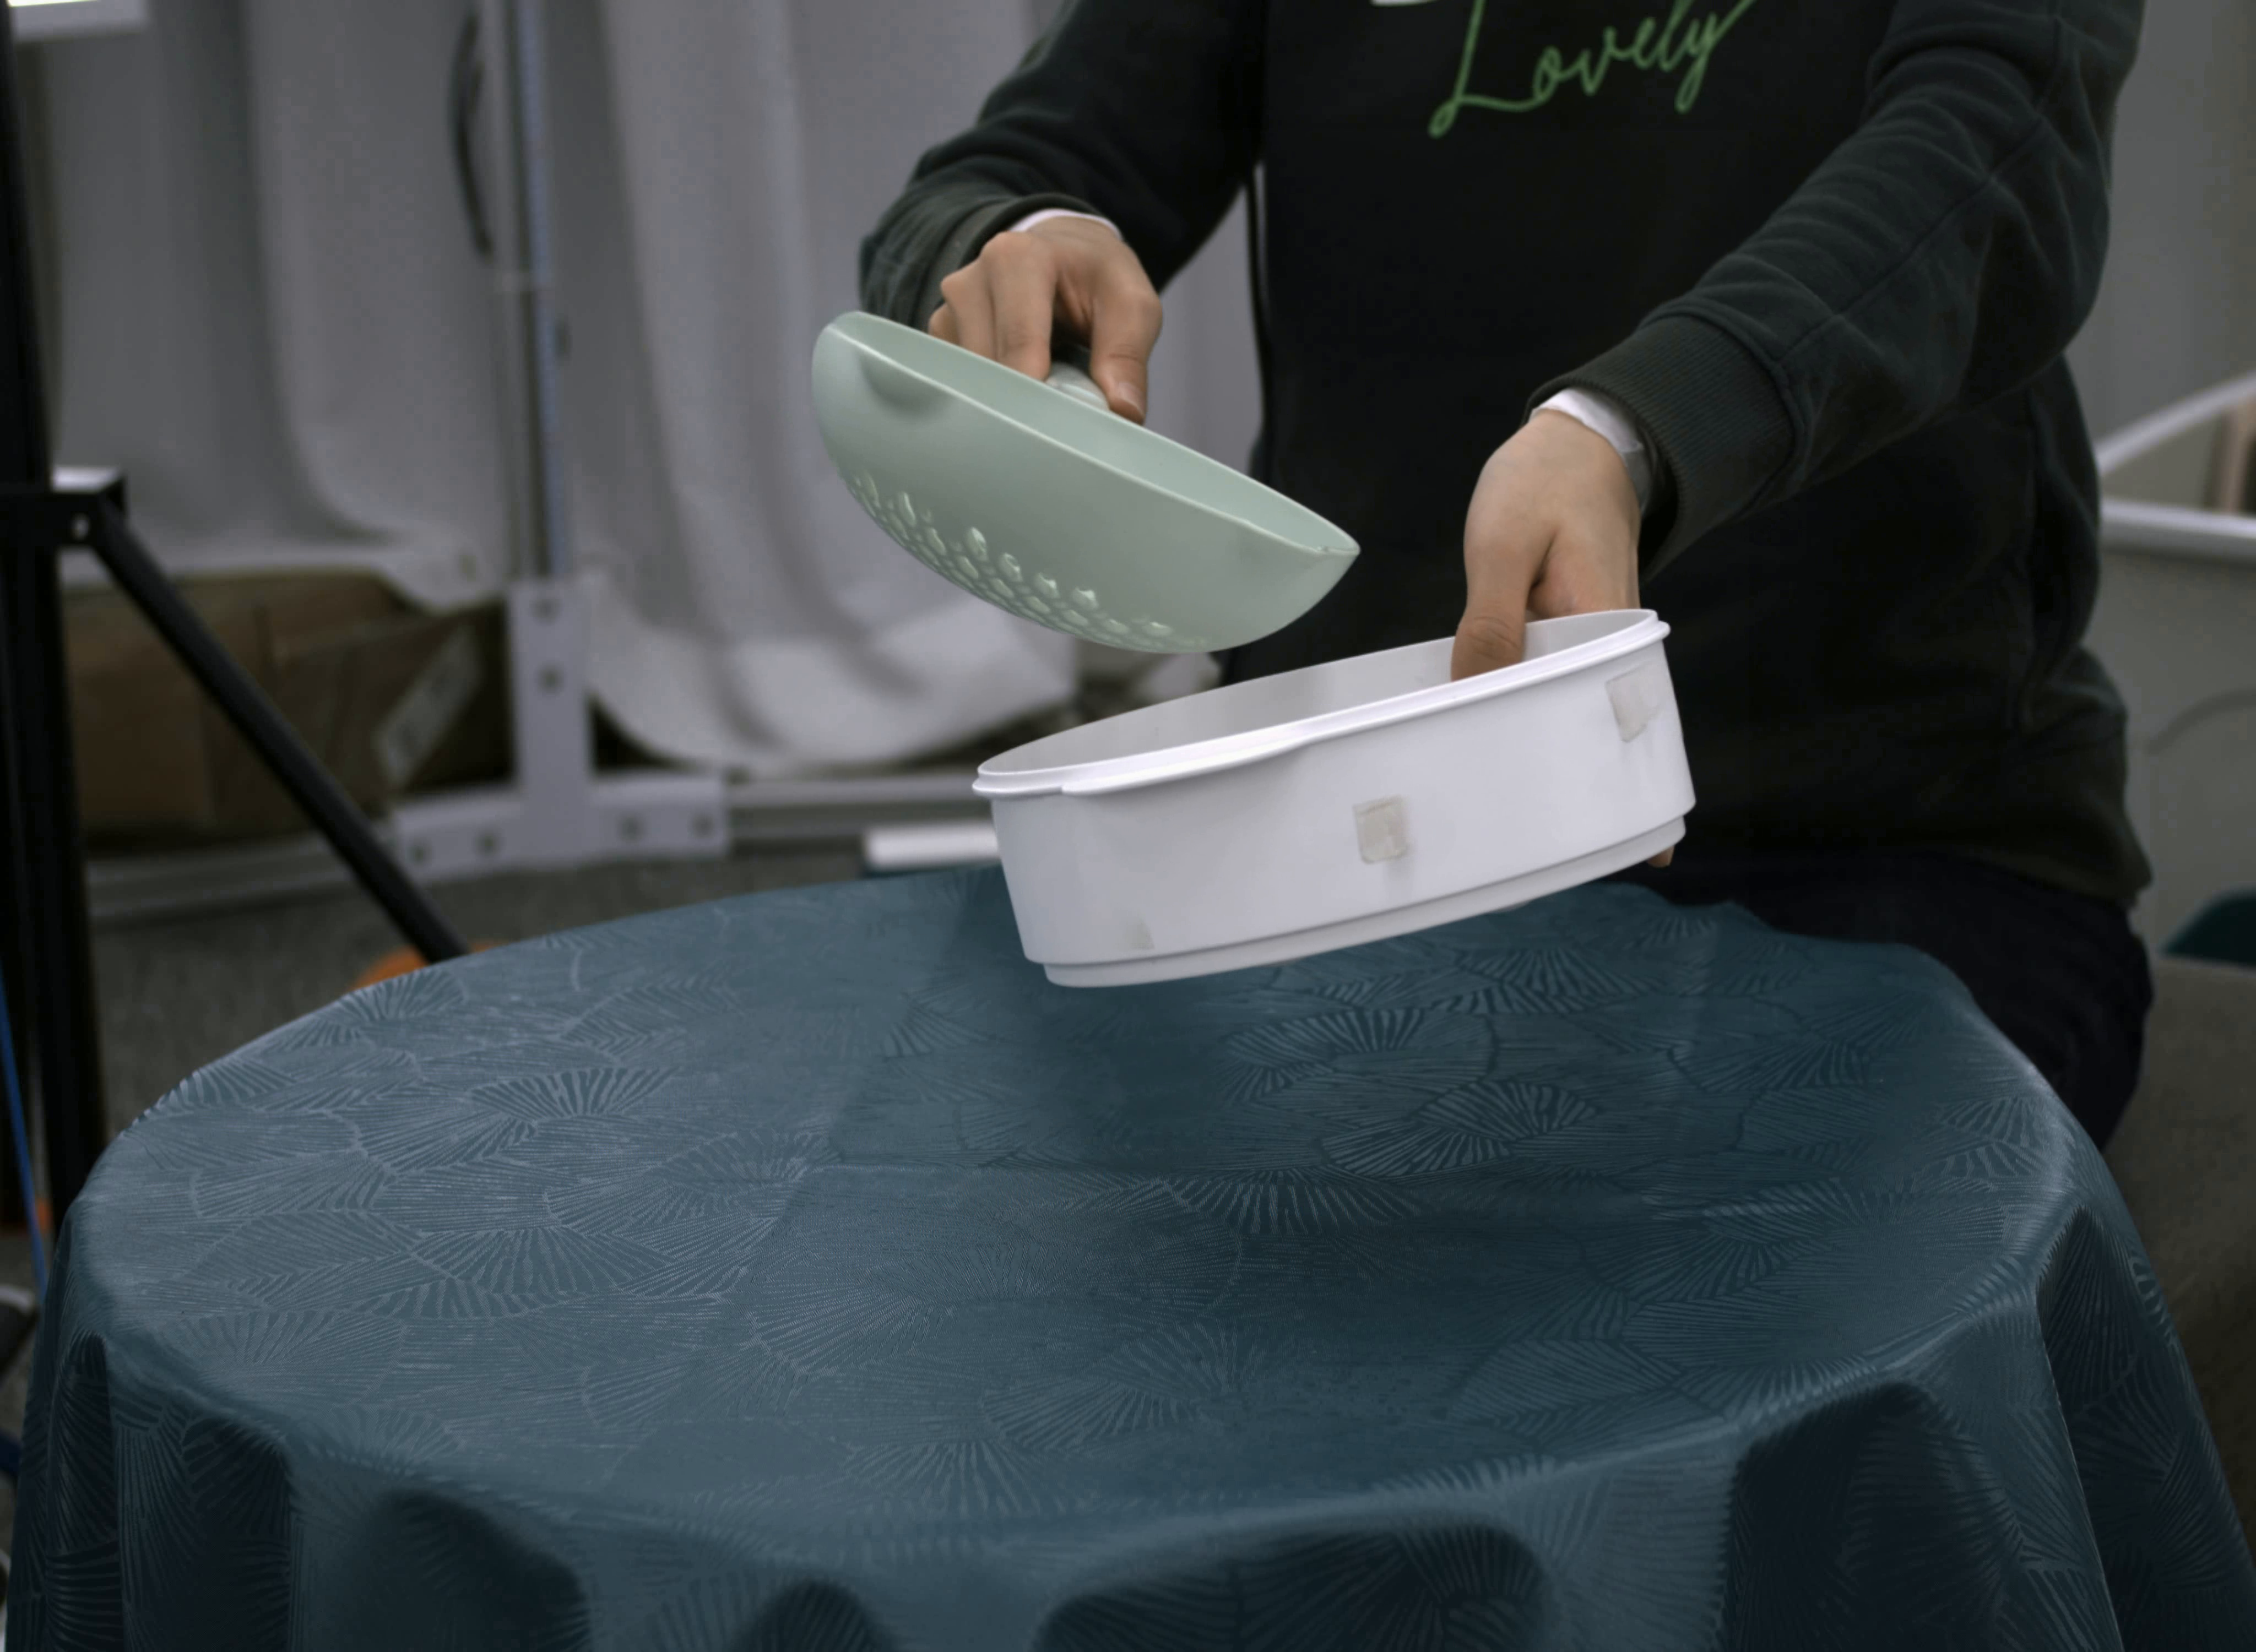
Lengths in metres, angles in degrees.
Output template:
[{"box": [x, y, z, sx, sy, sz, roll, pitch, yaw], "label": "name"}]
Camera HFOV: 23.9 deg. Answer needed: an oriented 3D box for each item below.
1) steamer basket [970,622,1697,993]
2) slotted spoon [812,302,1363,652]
[{"box": [0.060, -0.004, 1.483, 0.205, 0.069, 0.227, -10, 6, 26], "label": "steamer basket"}, {"box": [-0.018, -0.118, 1.616, 0.168, 0.075, 0.359, 25, 15, -5], "label": "slotted spoon"}]
